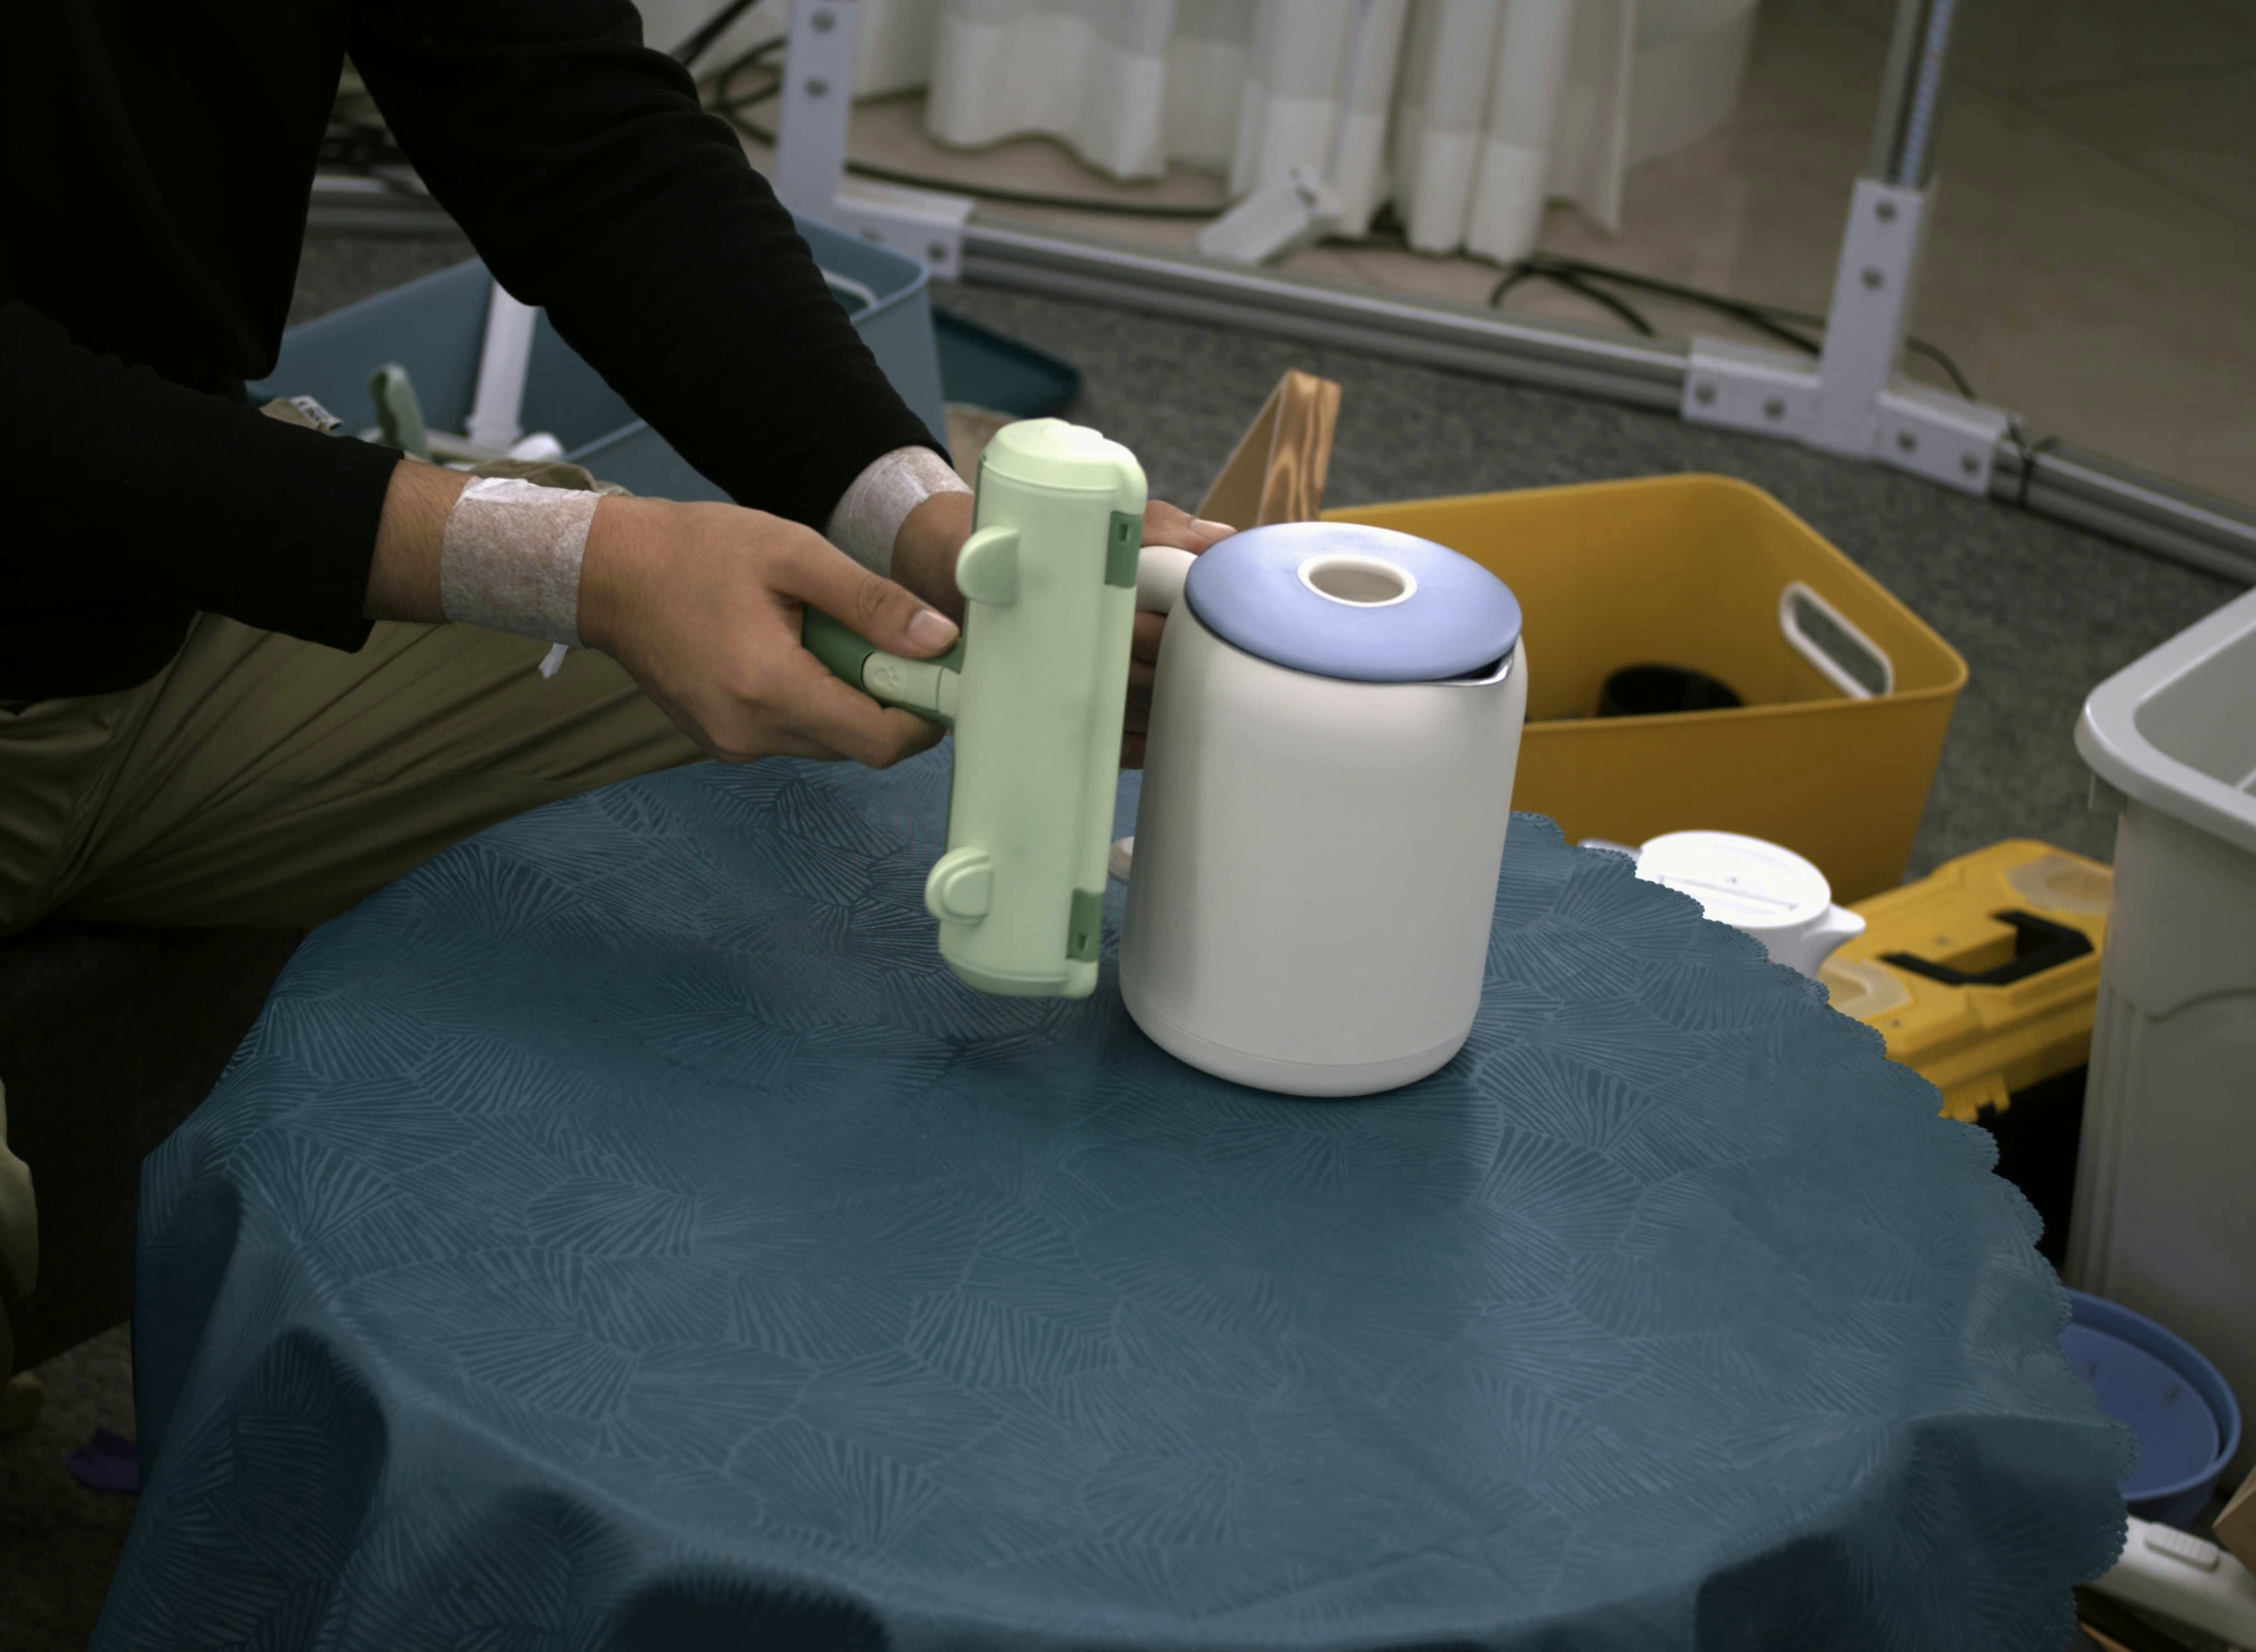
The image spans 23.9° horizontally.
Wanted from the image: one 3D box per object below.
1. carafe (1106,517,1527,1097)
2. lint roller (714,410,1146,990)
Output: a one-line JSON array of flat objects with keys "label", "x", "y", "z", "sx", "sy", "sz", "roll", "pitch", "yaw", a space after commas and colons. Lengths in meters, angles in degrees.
[{"label": "carafe", "x": 0.051, "y": -0.016, "z": 1.899, "sx": 0.192, "sy": 0.182, "sz": 0.131, "roll": 25, "pitch": 31, "yaw": 36}, {"label": "lint roller", "x": -0.081, "y": -0.053, "z": 1.854, "sx": 0.184, "sy": 0.198, "sz": 0.082, "roll": 14, "pitch": 21, "yaw": 25}]
